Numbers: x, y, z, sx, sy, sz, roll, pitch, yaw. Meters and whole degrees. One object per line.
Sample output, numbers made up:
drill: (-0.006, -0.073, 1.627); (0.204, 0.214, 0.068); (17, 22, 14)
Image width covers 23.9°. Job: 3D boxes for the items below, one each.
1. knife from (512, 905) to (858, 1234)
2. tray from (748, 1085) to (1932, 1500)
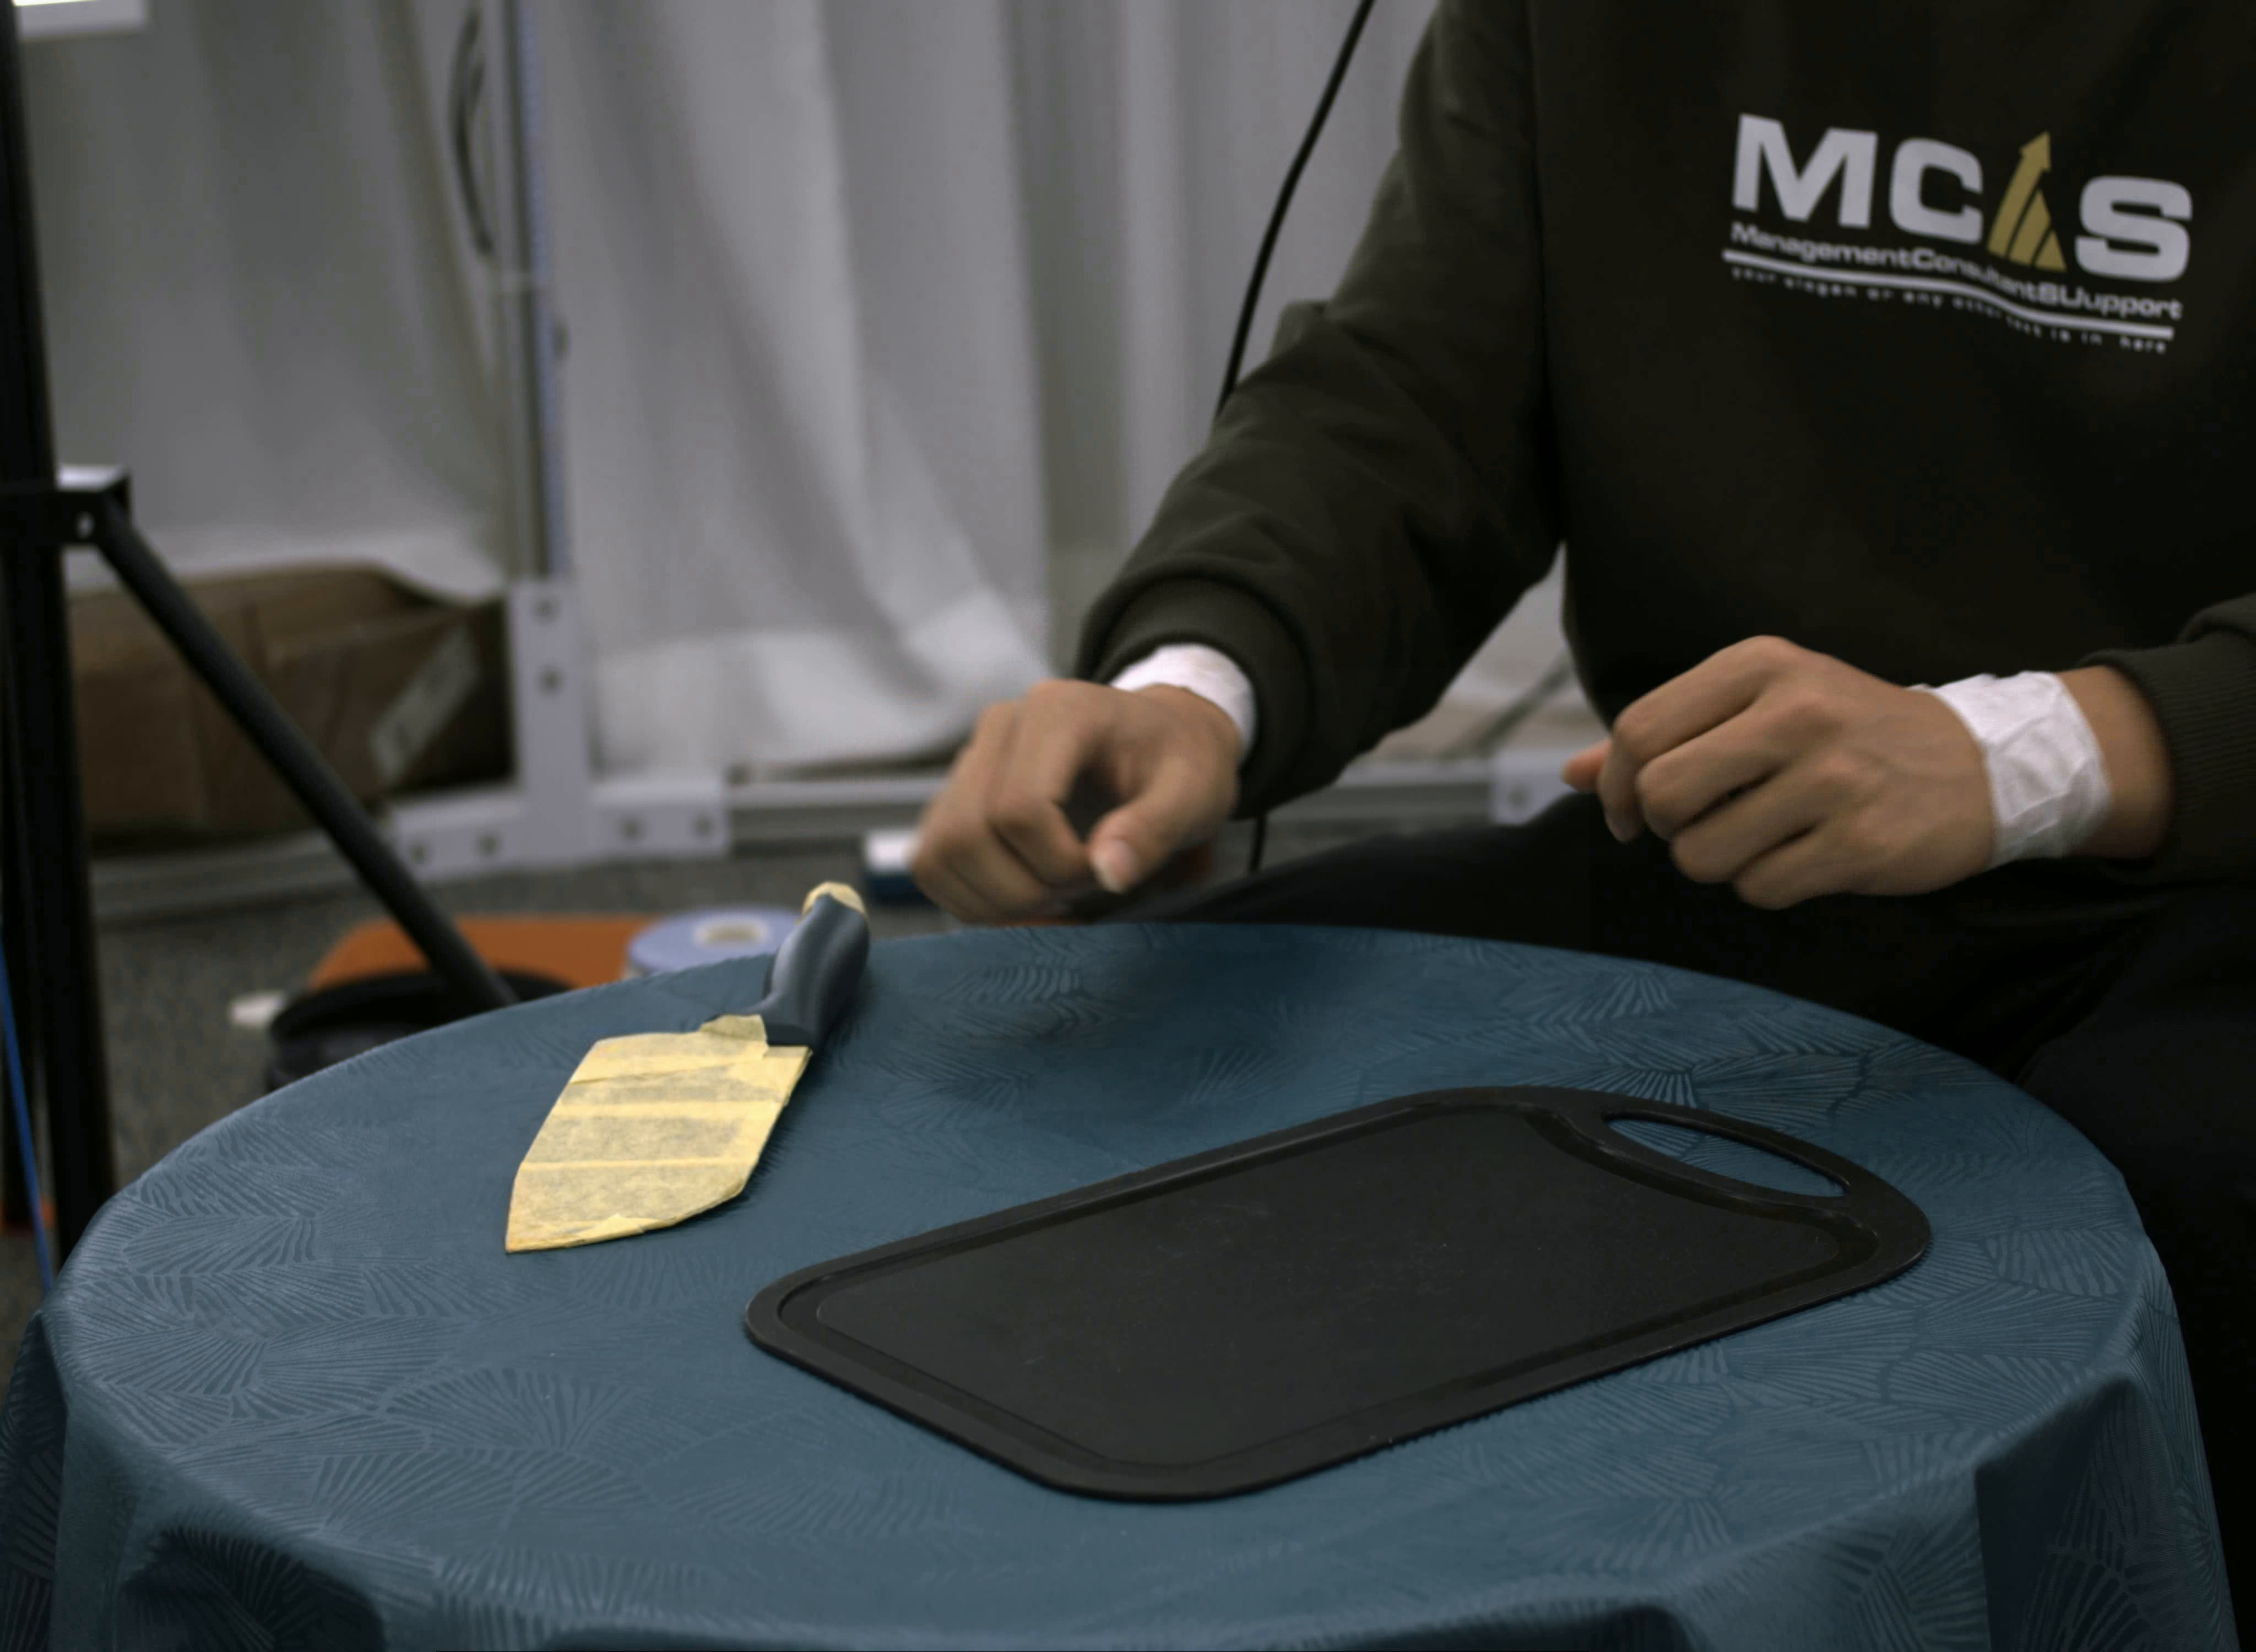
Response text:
knife: (-0.134, 0.076, 1.669); (0.081, 0.027, 0.288); (2, 17, 10)
tray: (0.067, 0.122, 1.487); (0.318, 0.010, 0.216); (-13, 19, -34)
